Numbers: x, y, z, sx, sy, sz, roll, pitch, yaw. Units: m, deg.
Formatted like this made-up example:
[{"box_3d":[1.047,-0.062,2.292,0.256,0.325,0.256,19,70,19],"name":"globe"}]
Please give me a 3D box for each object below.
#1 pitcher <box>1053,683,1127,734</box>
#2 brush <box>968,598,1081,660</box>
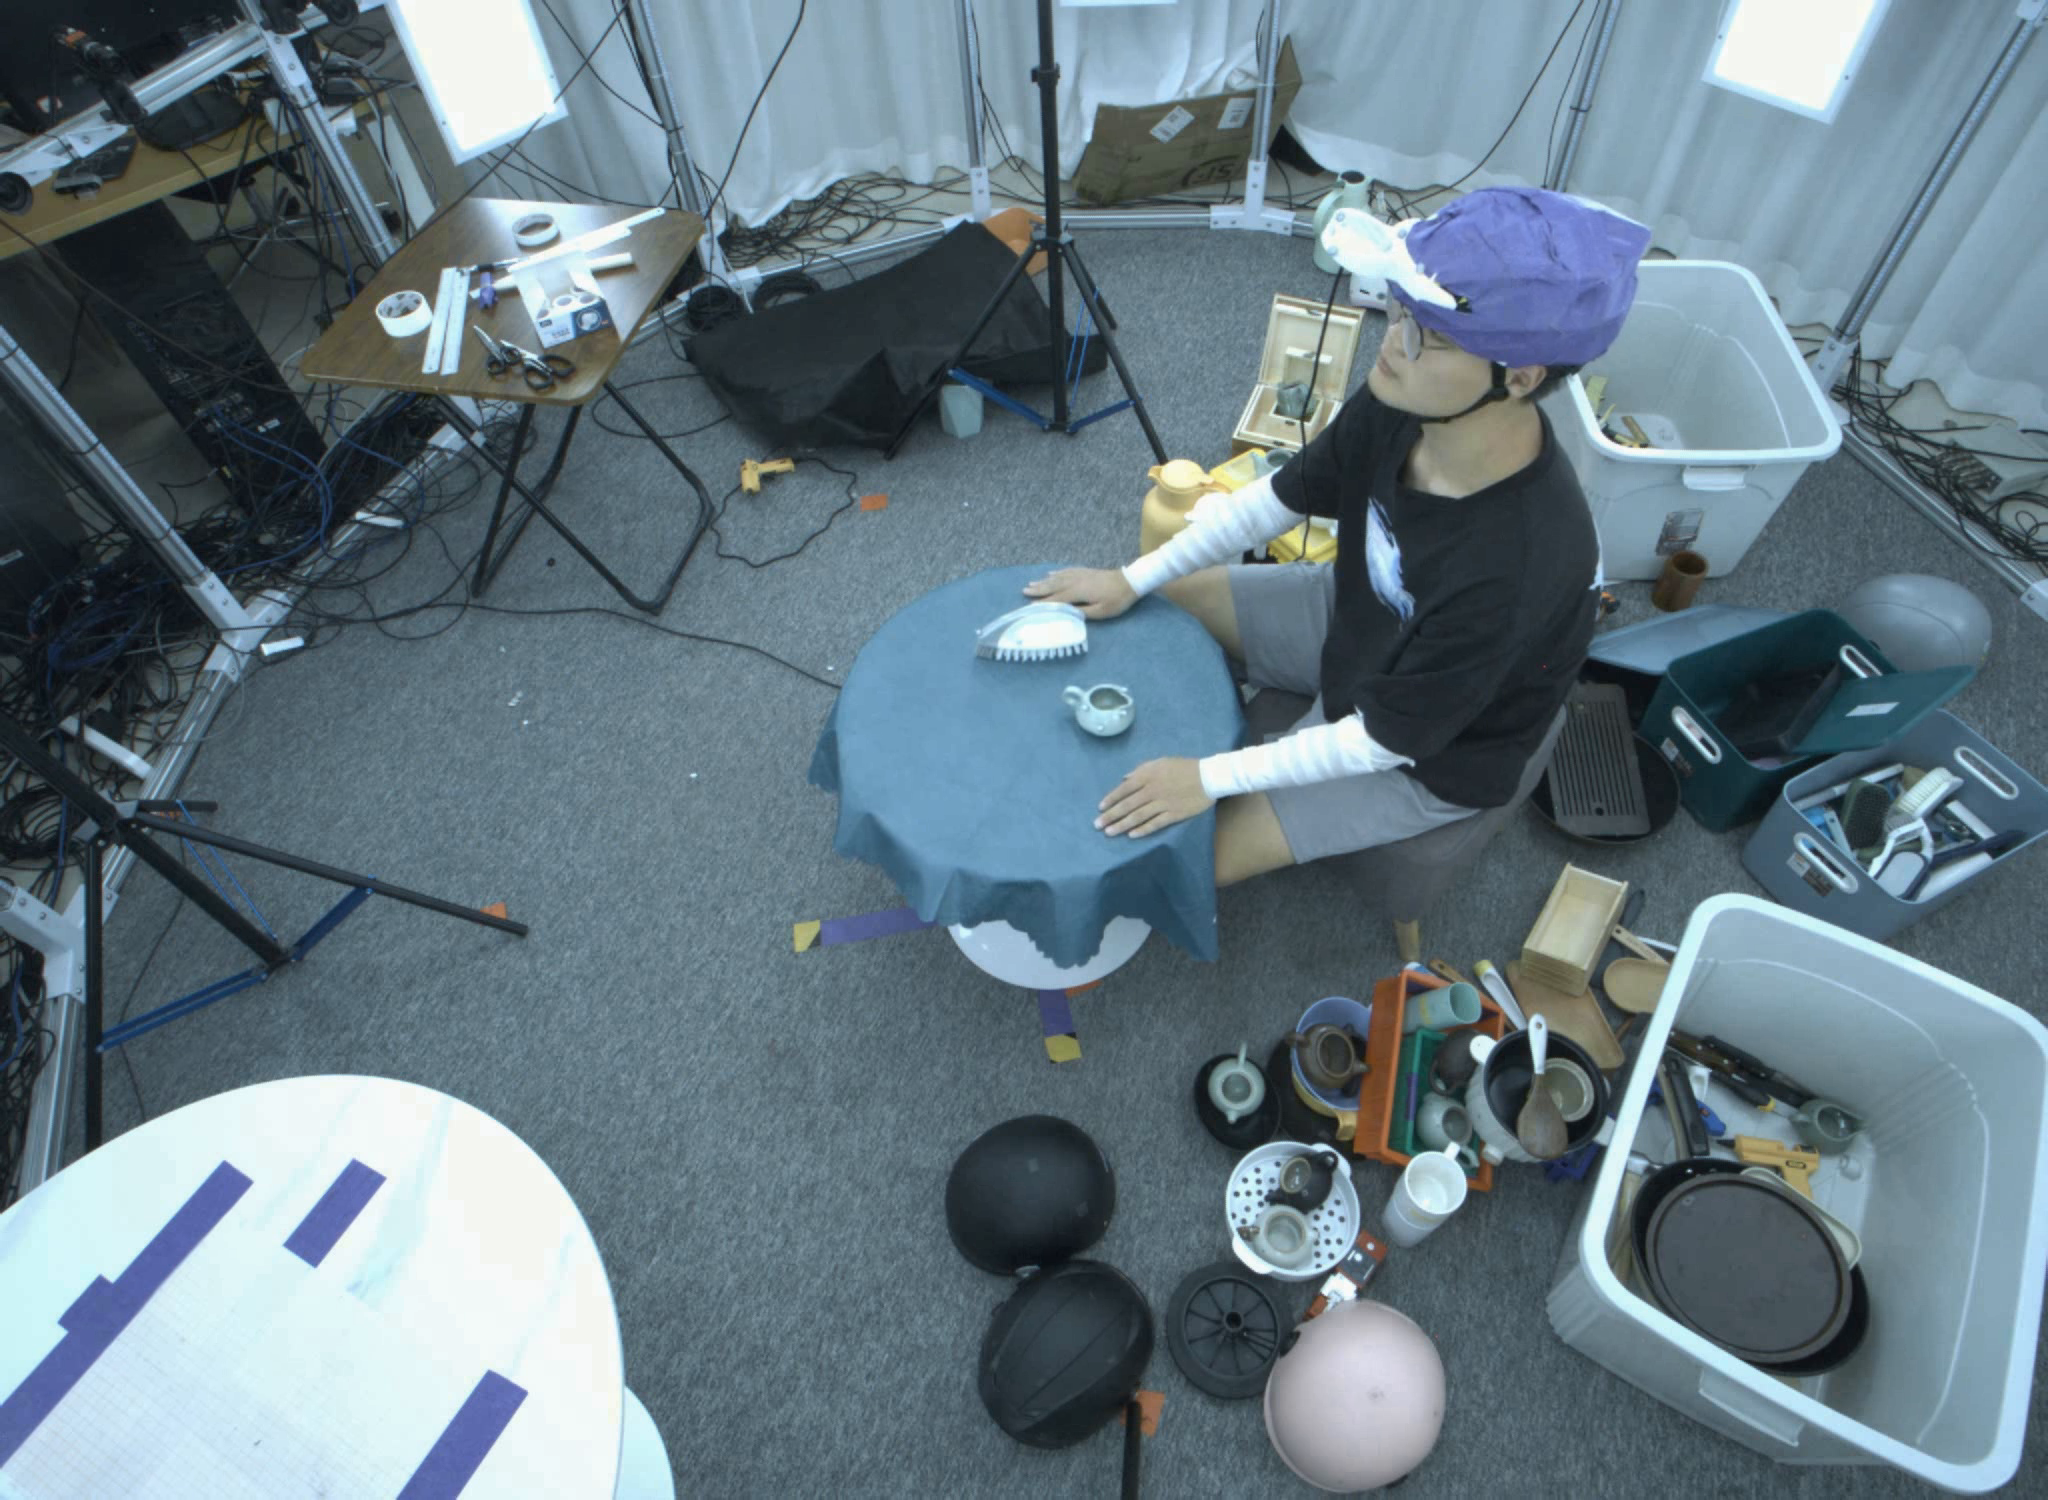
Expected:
[{"box_3d":[0.095,-0.065,1.788,0.107,0.061,0.085,9,54,12],"name":"pitcher"},{"box_3d":[-0.004,-0.184,1.854,0.176,0.095,0.060,-8,51,-1],"name":"brush"}]
